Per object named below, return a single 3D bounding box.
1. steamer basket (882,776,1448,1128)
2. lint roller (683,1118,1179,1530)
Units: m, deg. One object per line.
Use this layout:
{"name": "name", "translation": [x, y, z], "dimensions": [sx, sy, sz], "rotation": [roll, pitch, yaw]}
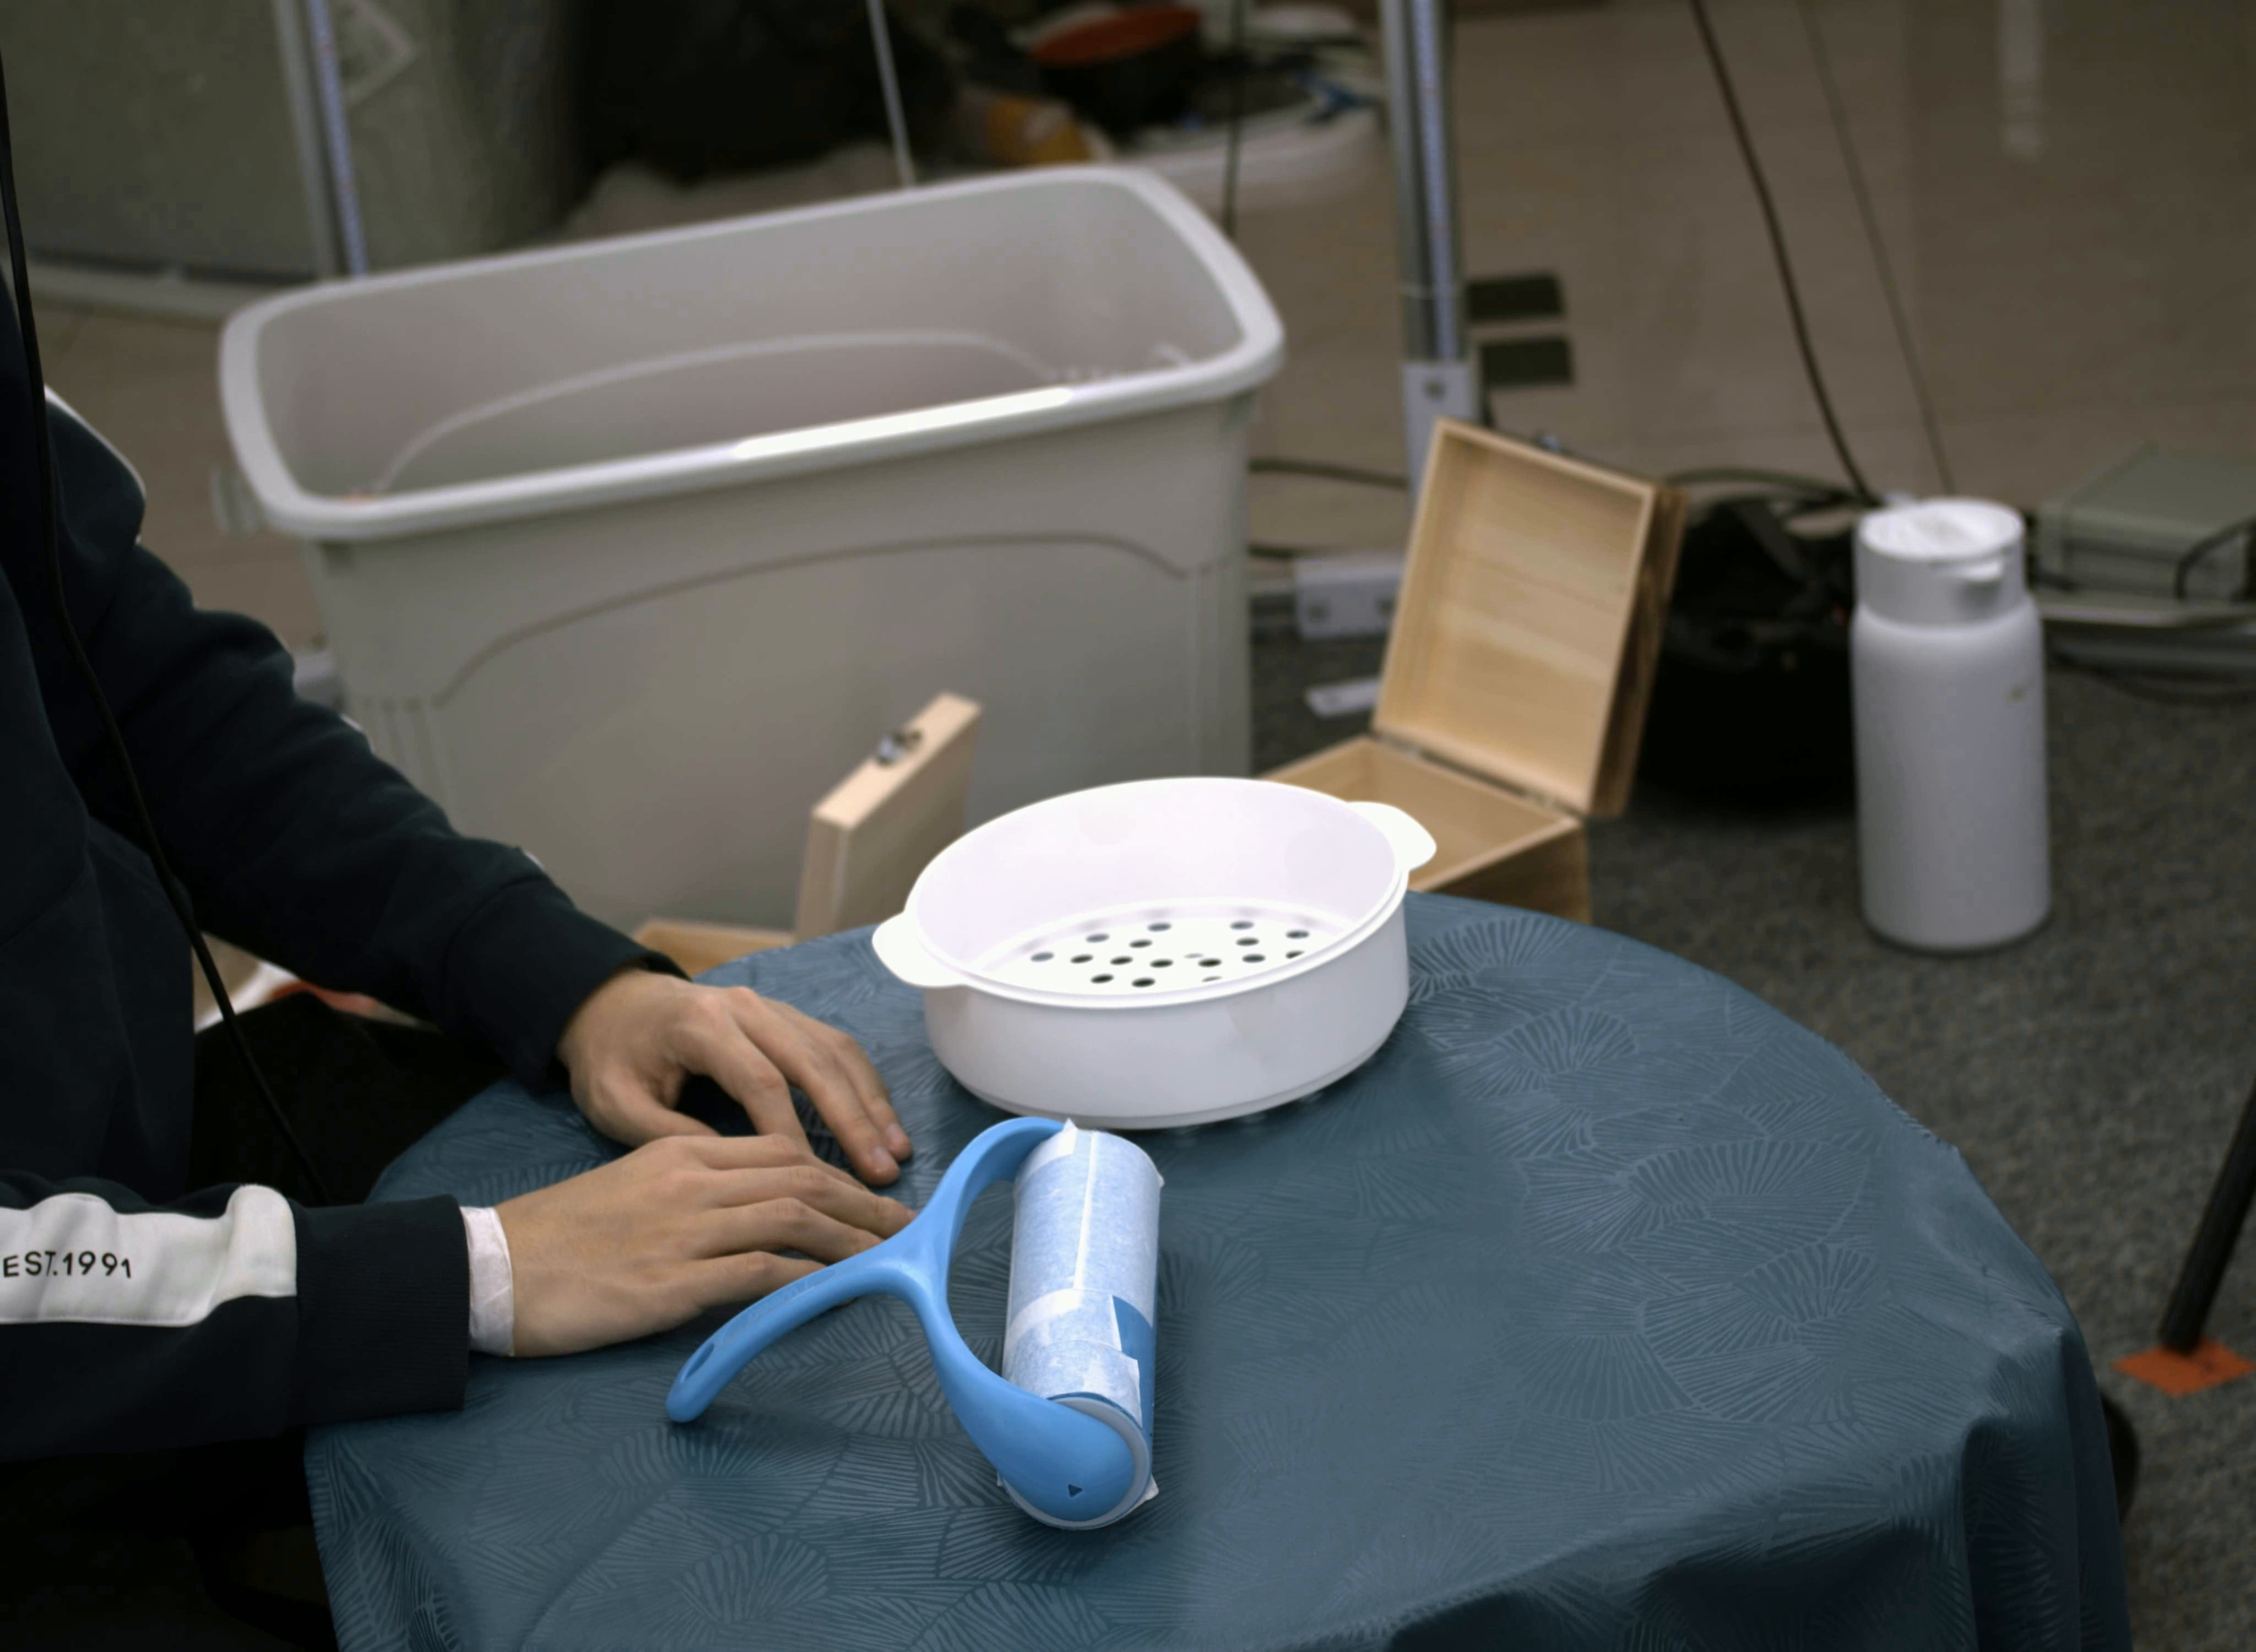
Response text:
{"name": "steamer basket", "translation": [0.019, 0.051, 2.247], "dimensions": [0.230, 0.070, 0.199], "rotation": [-15, 25, -15]}
{"name": "lint roller", "translation": [-0.071, 0.180, 2.008], "dimensions": [0.180, 0.069, 0.225], "rotation": [-6, 27, -1]}
